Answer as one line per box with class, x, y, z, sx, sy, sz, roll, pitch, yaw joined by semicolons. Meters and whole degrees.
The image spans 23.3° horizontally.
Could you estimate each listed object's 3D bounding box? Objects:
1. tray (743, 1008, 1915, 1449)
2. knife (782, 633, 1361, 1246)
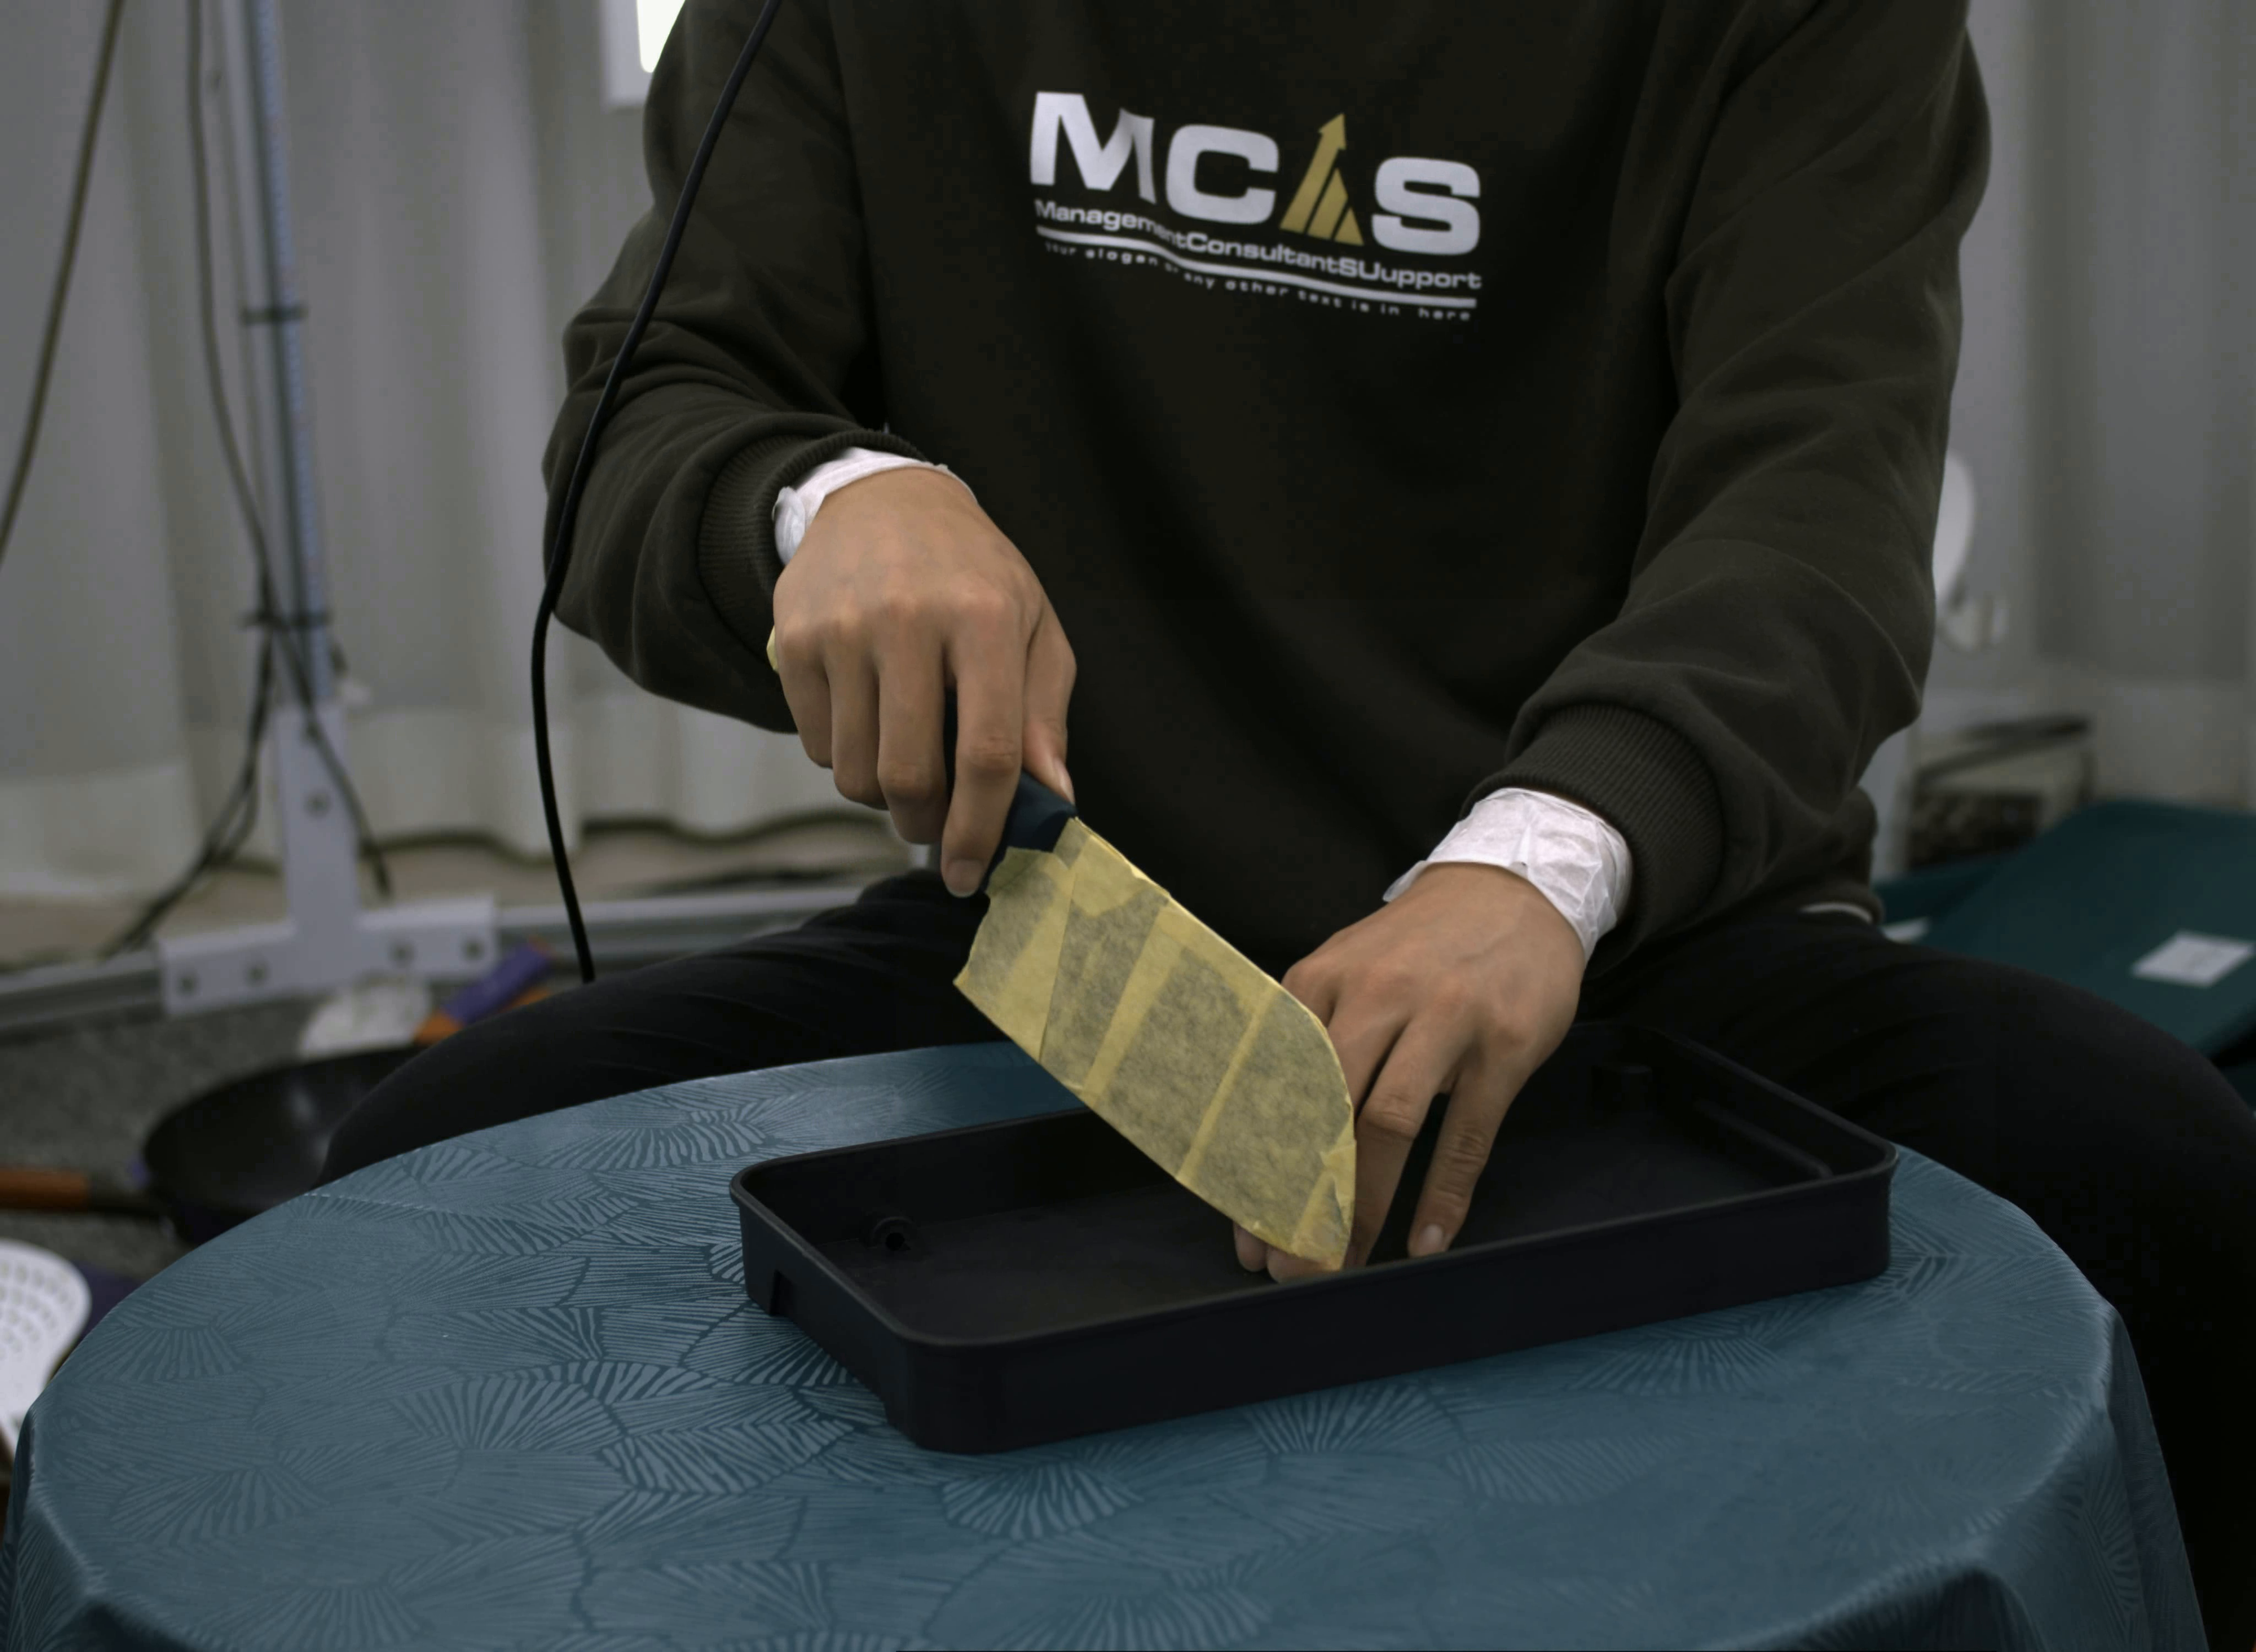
tray;0.059;0.115;1.630;0.316;0.037;0.186;-9;16;-23
knife;-0.022;0.032;1.674;0.027;0.080;0.293;5;30;-48
